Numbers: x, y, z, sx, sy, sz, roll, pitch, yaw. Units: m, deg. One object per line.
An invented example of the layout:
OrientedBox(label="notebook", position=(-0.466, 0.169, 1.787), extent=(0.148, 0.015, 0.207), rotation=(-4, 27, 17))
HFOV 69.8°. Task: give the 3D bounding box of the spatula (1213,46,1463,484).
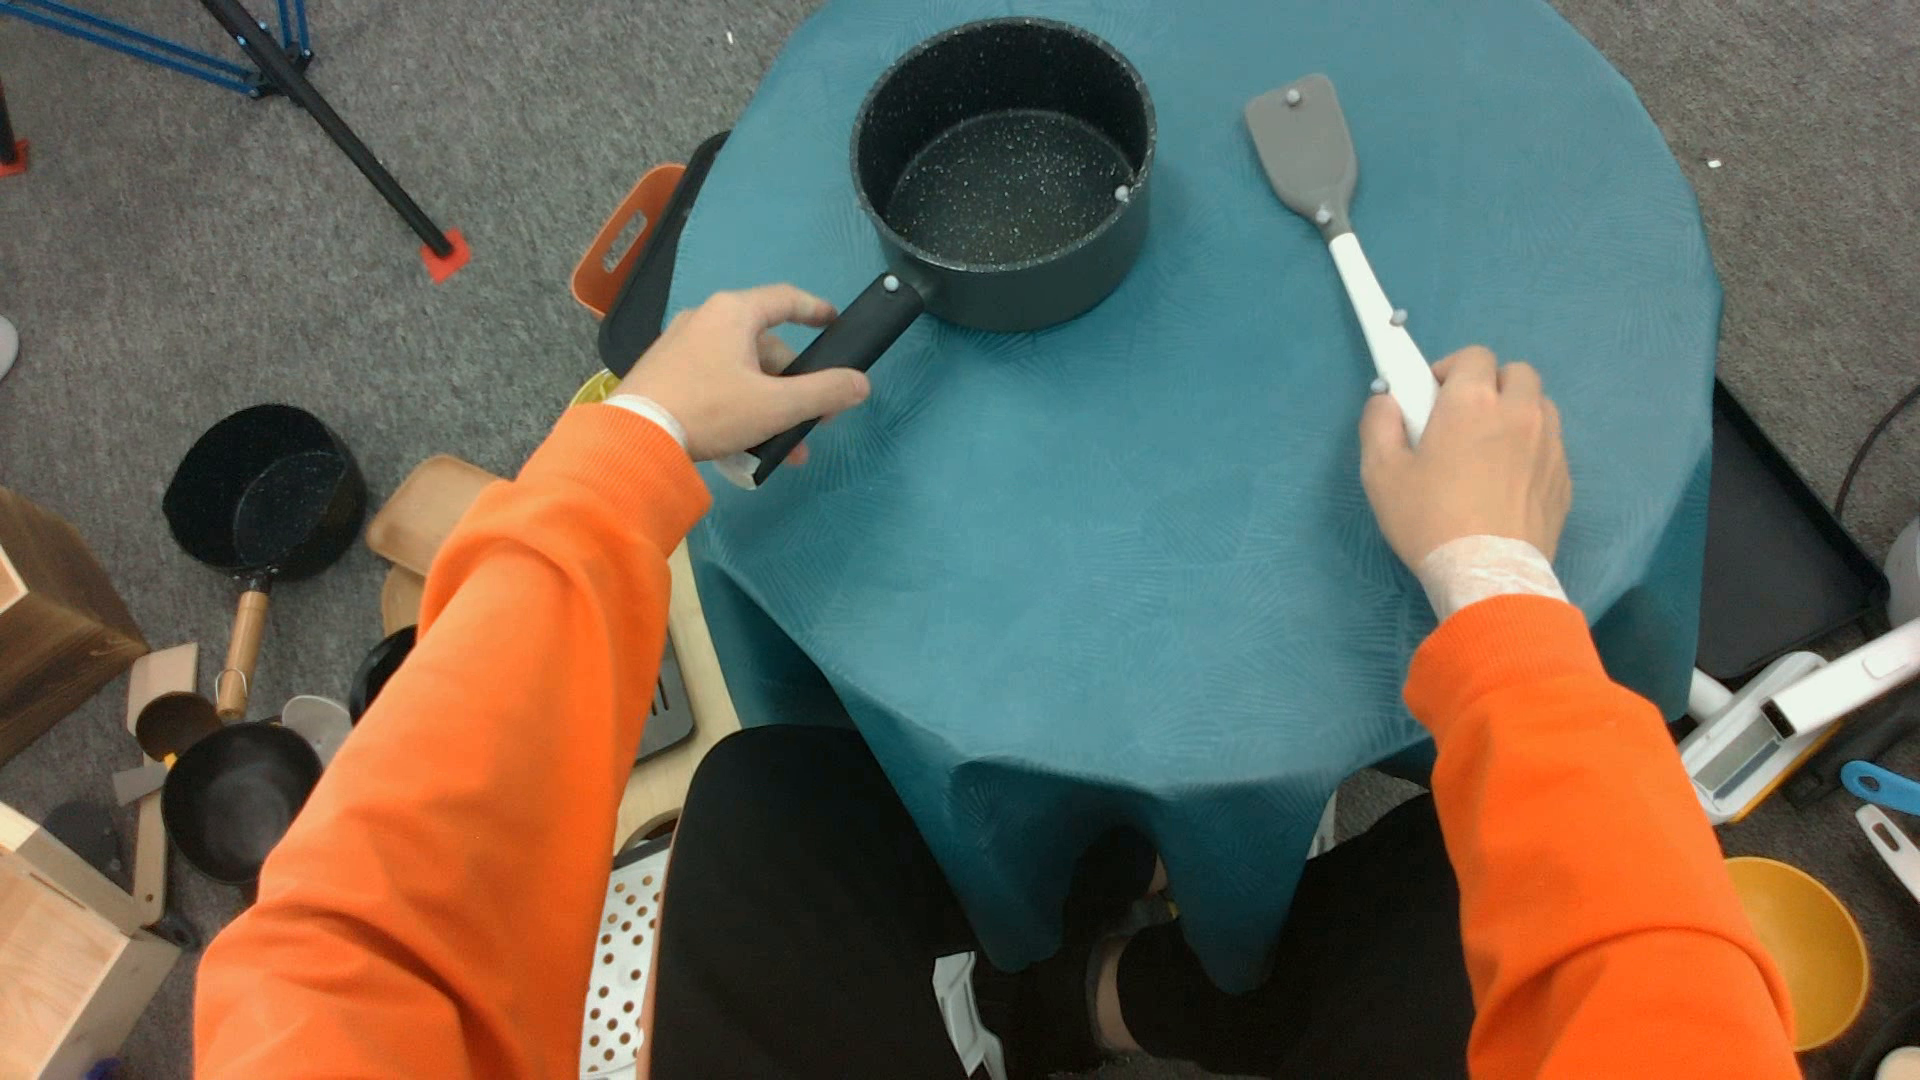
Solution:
OrientedBox(label="spatula", position=(0.209, -0.160, 0.765), extent=(0.058, 0.032, 0.288), rotation=(-22, 62, 14))

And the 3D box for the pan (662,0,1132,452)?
OrientedBox(label="pan", position=(-0.036, -0.162, 0.770), extent=(0.172, 0.086, 0.329), rotation=(34, 74, 19))
